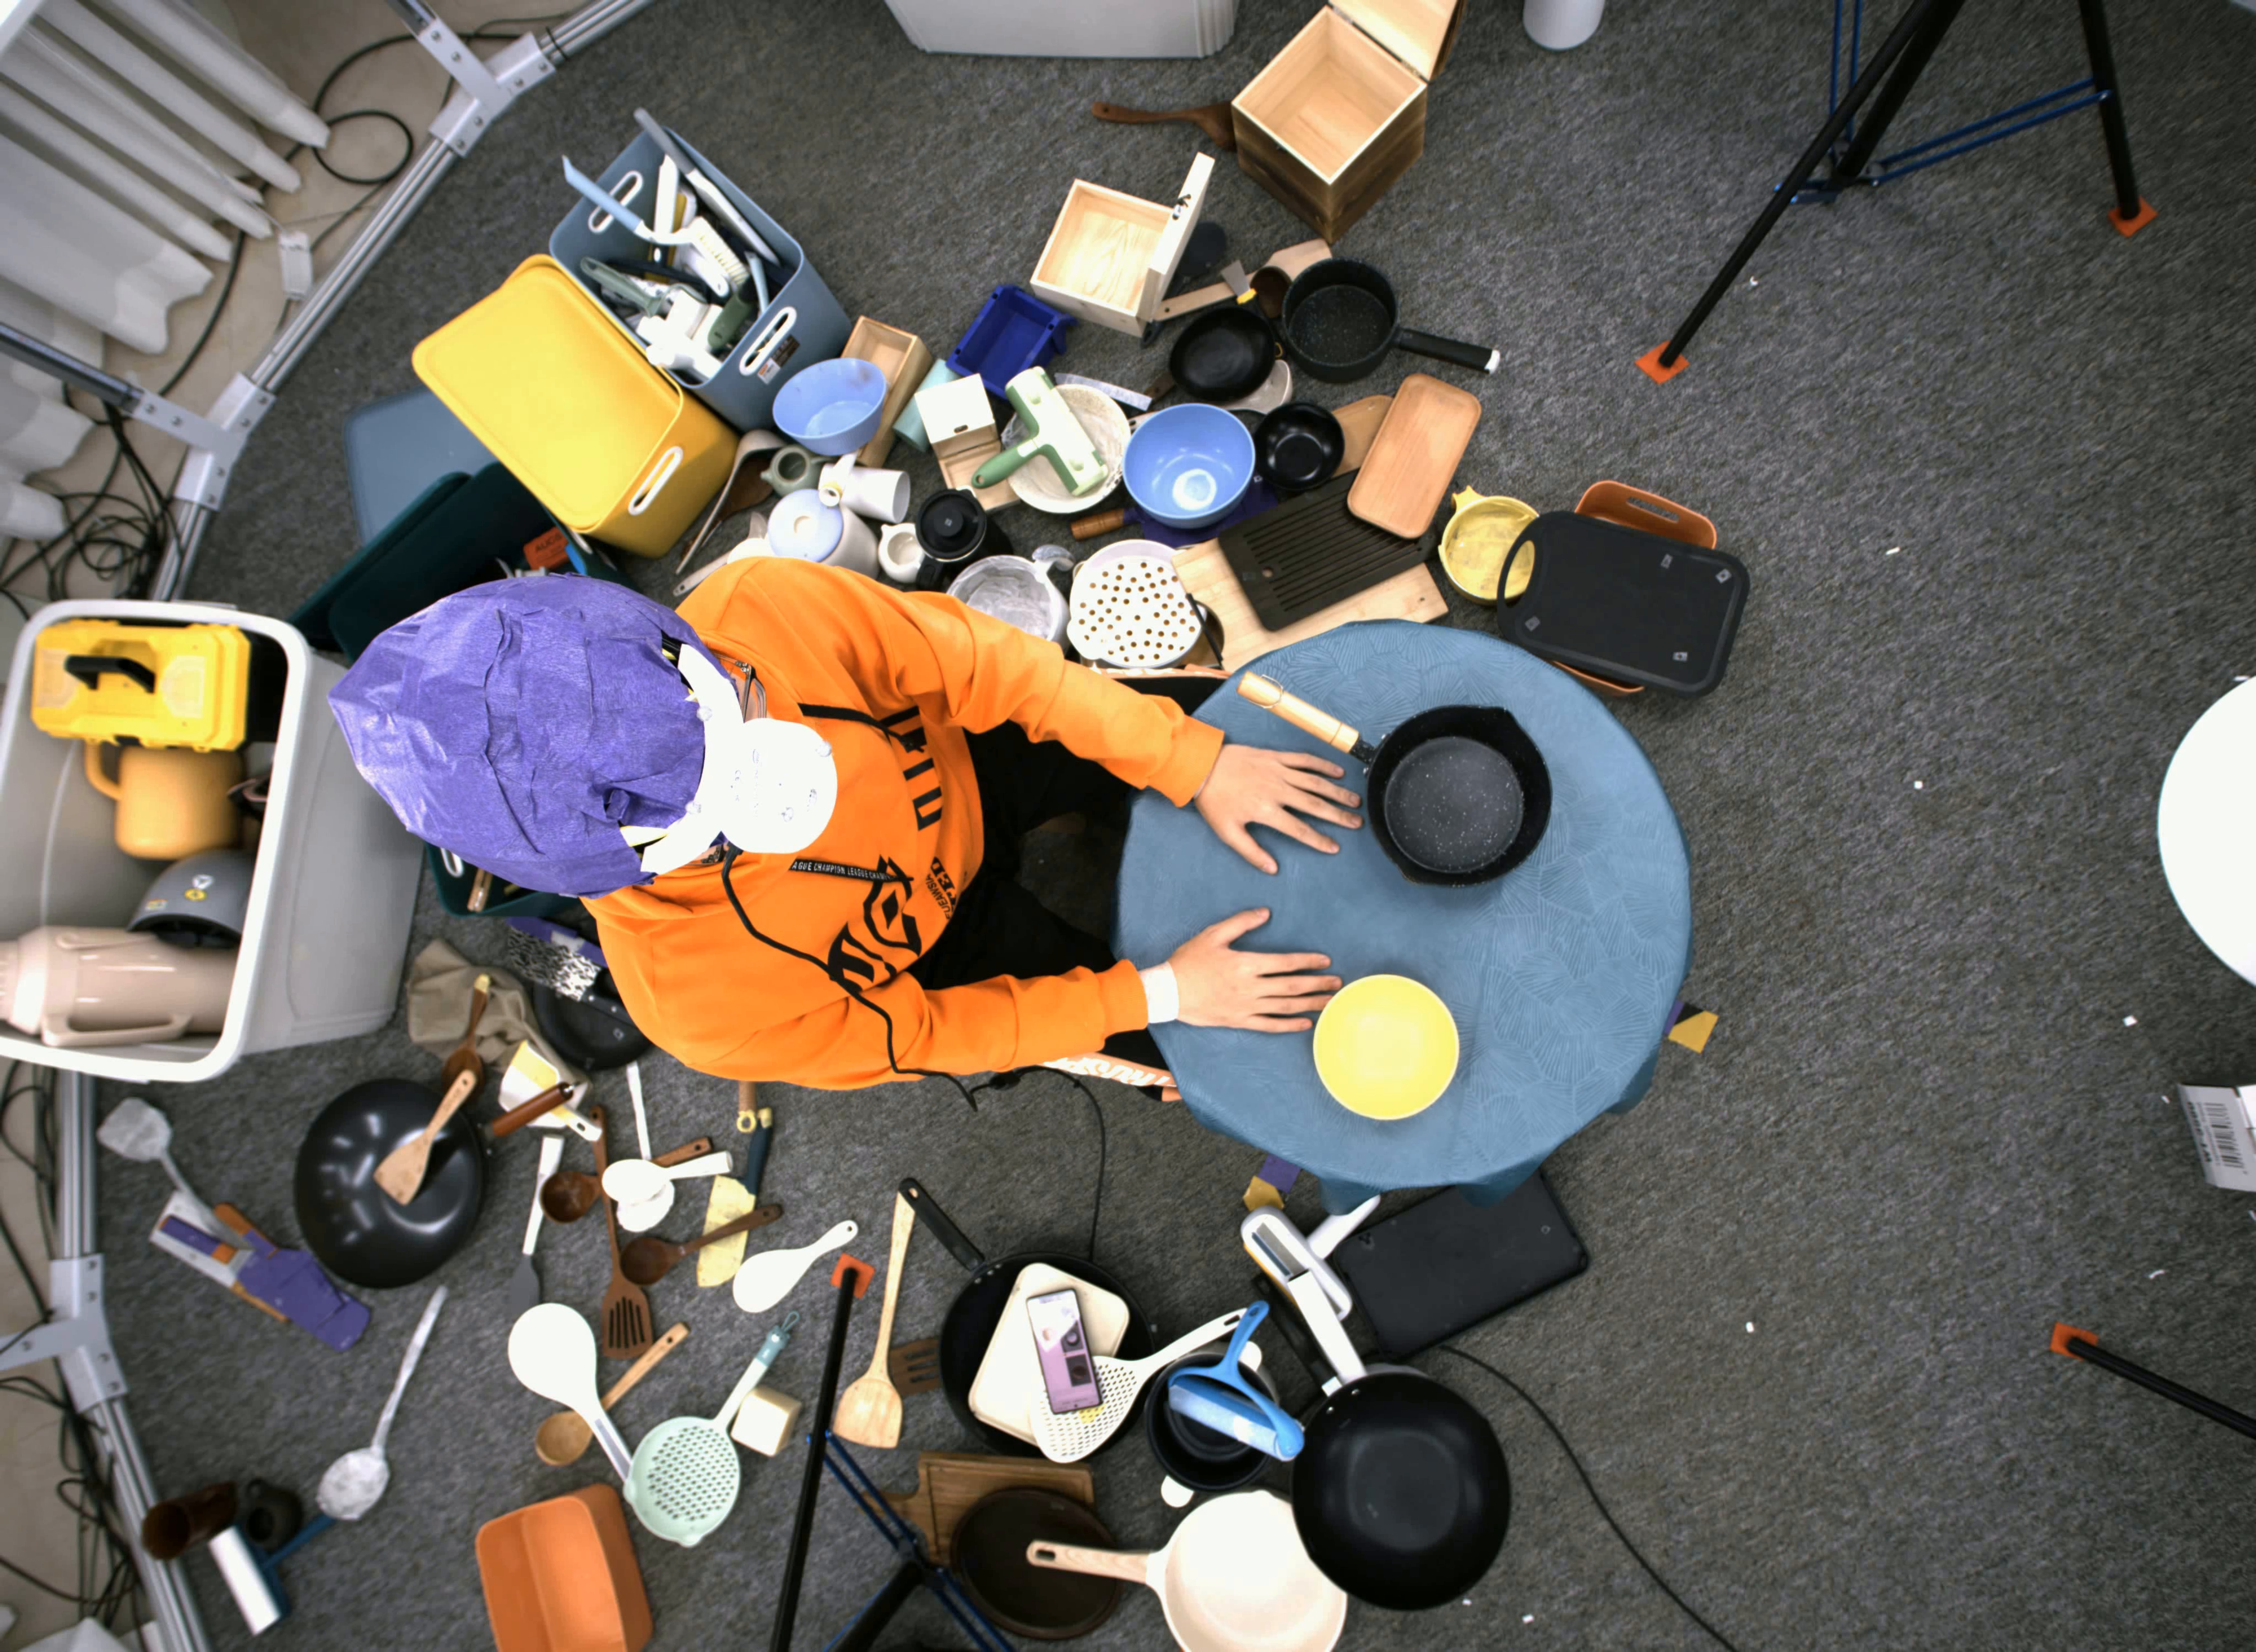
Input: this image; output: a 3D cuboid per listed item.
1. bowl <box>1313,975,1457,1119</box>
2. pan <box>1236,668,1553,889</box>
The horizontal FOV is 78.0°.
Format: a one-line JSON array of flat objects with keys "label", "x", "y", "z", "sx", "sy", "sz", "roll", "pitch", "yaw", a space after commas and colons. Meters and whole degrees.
[{"label": "bowl", "x": 0.263, "y": 0.225, "z": 1.423, "sx": 0.146, "sy": 0.060, "sz": 0.144, "roll": -1, "pitch": 85, "yaw": 10}, {"label": "pan", "x": 0.265, "y": -0.066, "z": 1.414, "sx": 0.342, "sy": 0.108, "sz": 0.208, "roll": 28, "pitch": 93, "yaw": 10}]
